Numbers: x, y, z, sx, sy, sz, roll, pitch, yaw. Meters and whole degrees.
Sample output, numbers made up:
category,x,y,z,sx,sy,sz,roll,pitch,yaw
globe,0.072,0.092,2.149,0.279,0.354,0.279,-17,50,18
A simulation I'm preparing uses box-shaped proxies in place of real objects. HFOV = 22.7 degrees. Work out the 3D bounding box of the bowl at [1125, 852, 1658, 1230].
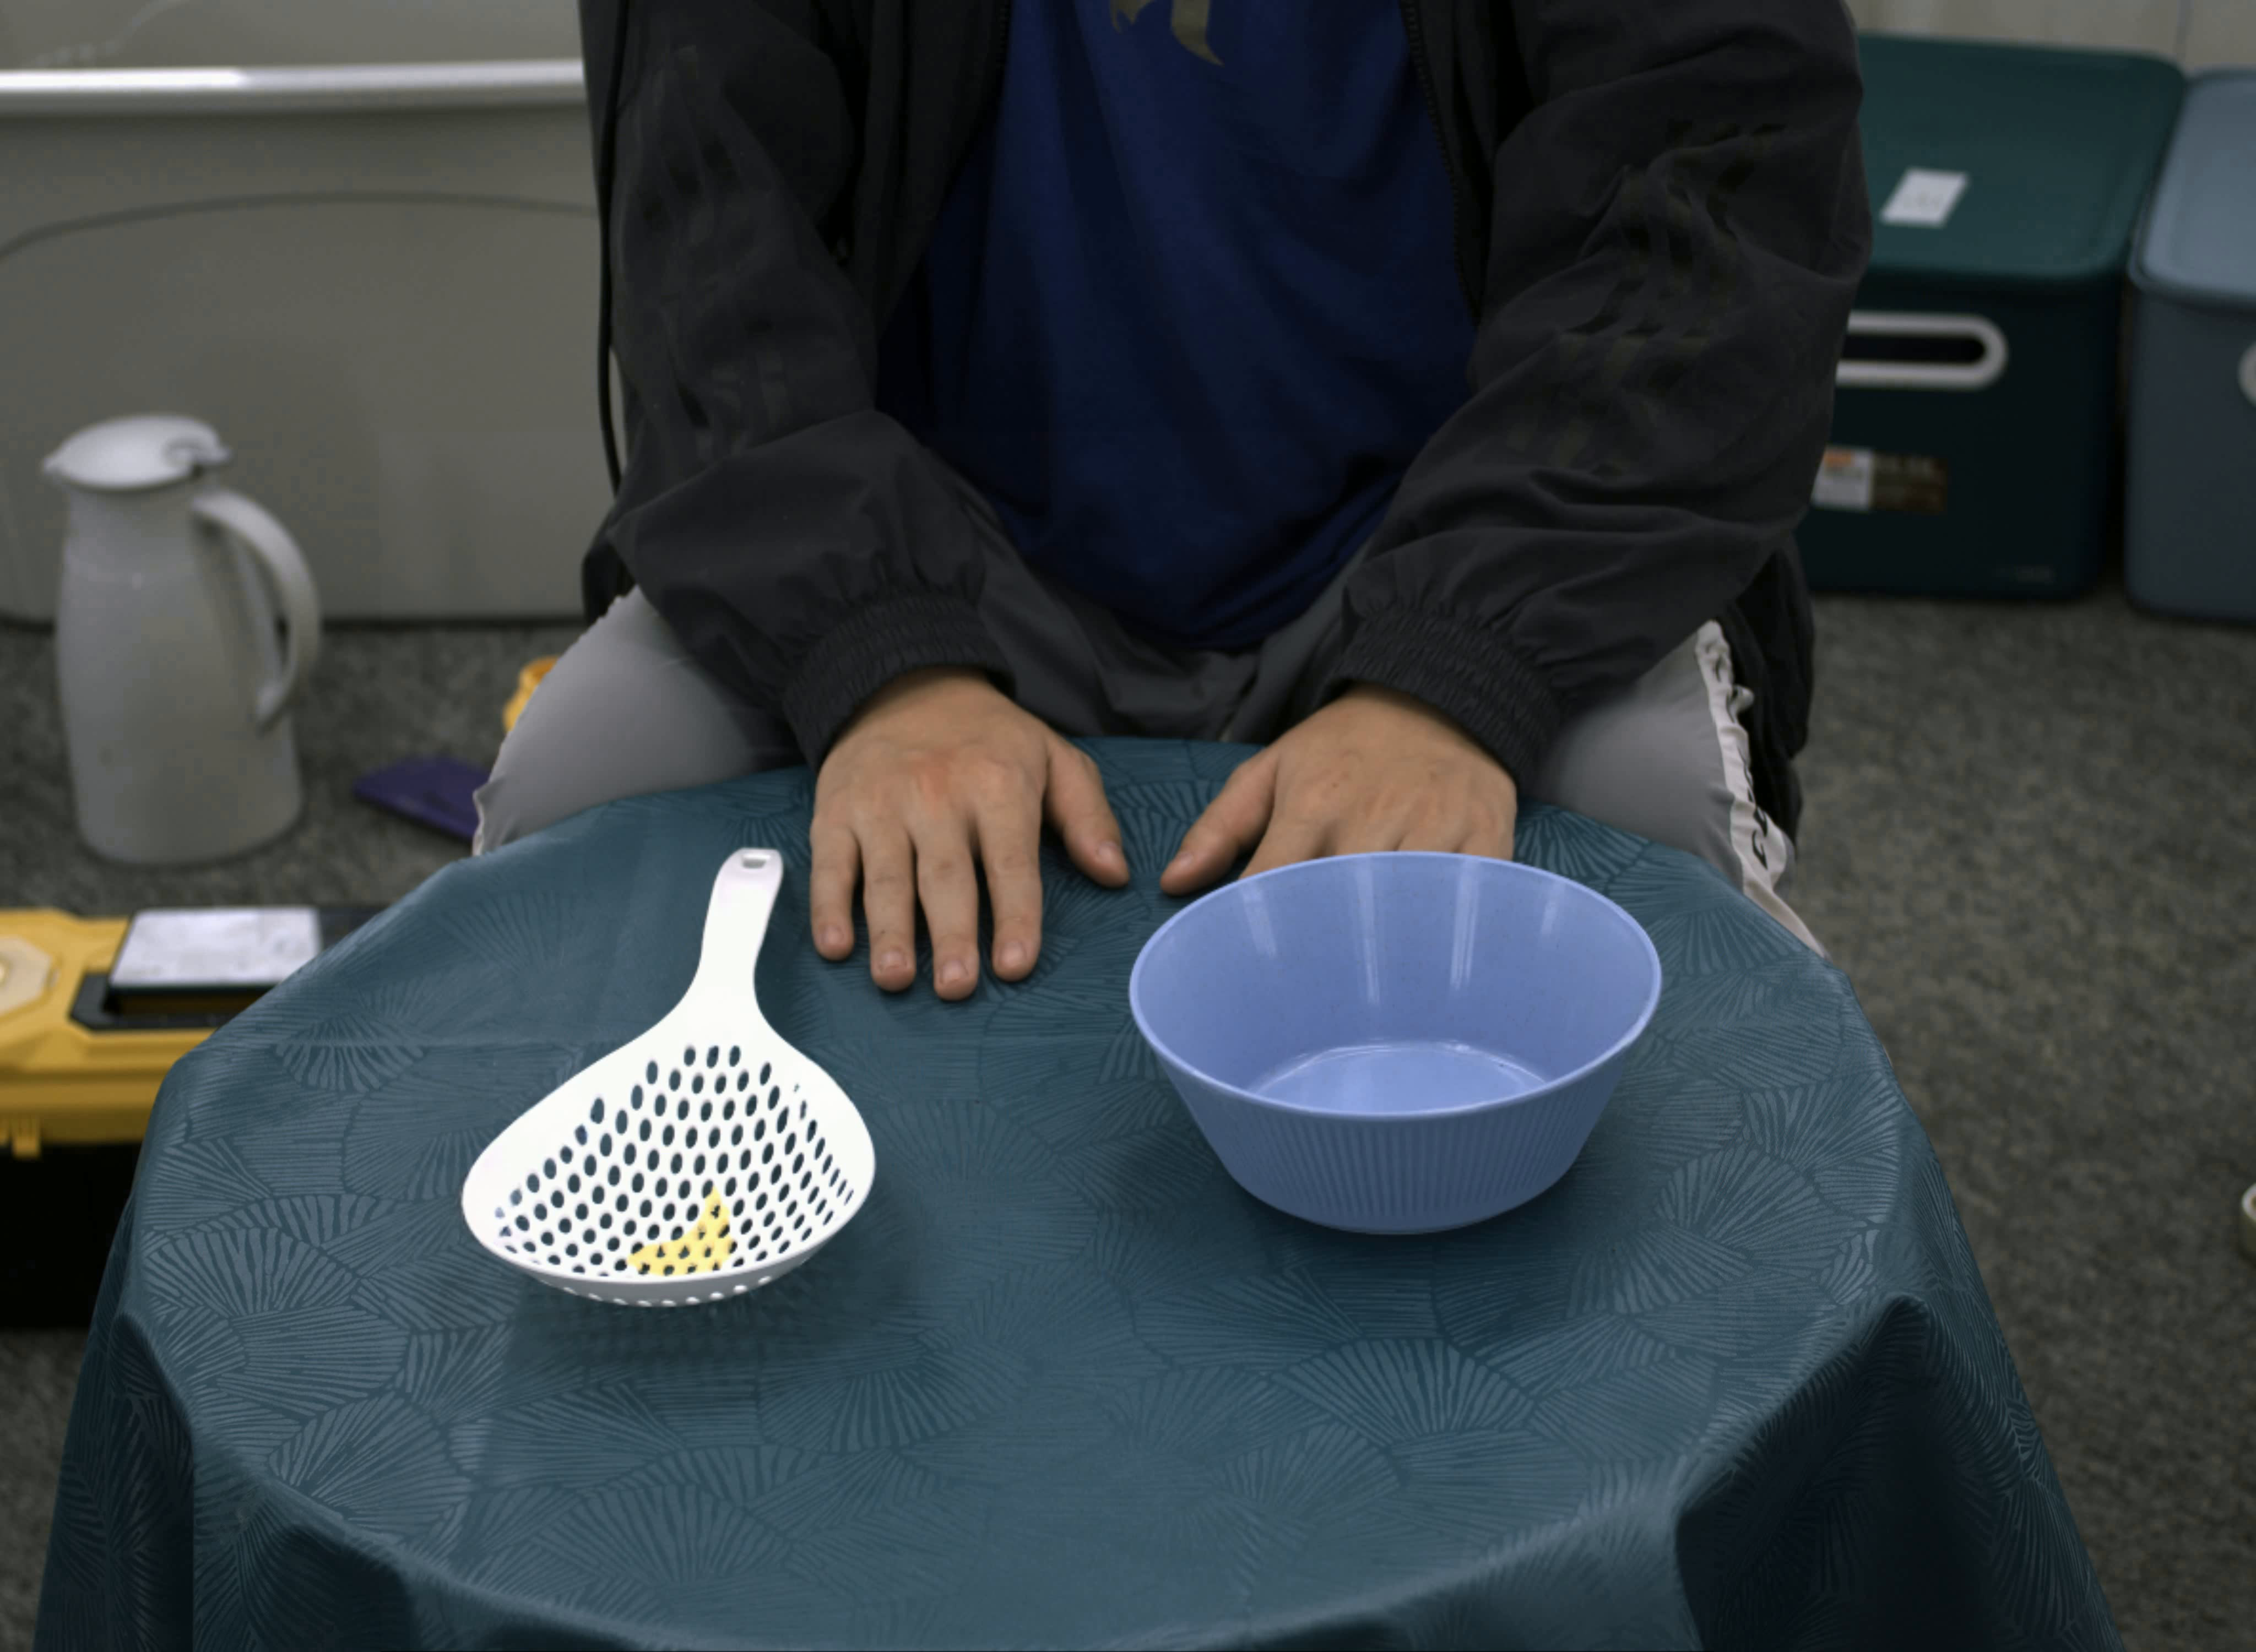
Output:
category,x,y,z,sx,sy,sz,roll,pitch,yaw
bowl,0.087,0.077,1.862,0.175,0.069,0.179,-2,27,1

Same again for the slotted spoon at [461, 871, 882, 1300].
category,x,y,z,sx,sy,sz,roll,pitch,yaw
slotted spoon,-0.142,0.076,1.917,0.136,0.050,0.353,-5,27,4
